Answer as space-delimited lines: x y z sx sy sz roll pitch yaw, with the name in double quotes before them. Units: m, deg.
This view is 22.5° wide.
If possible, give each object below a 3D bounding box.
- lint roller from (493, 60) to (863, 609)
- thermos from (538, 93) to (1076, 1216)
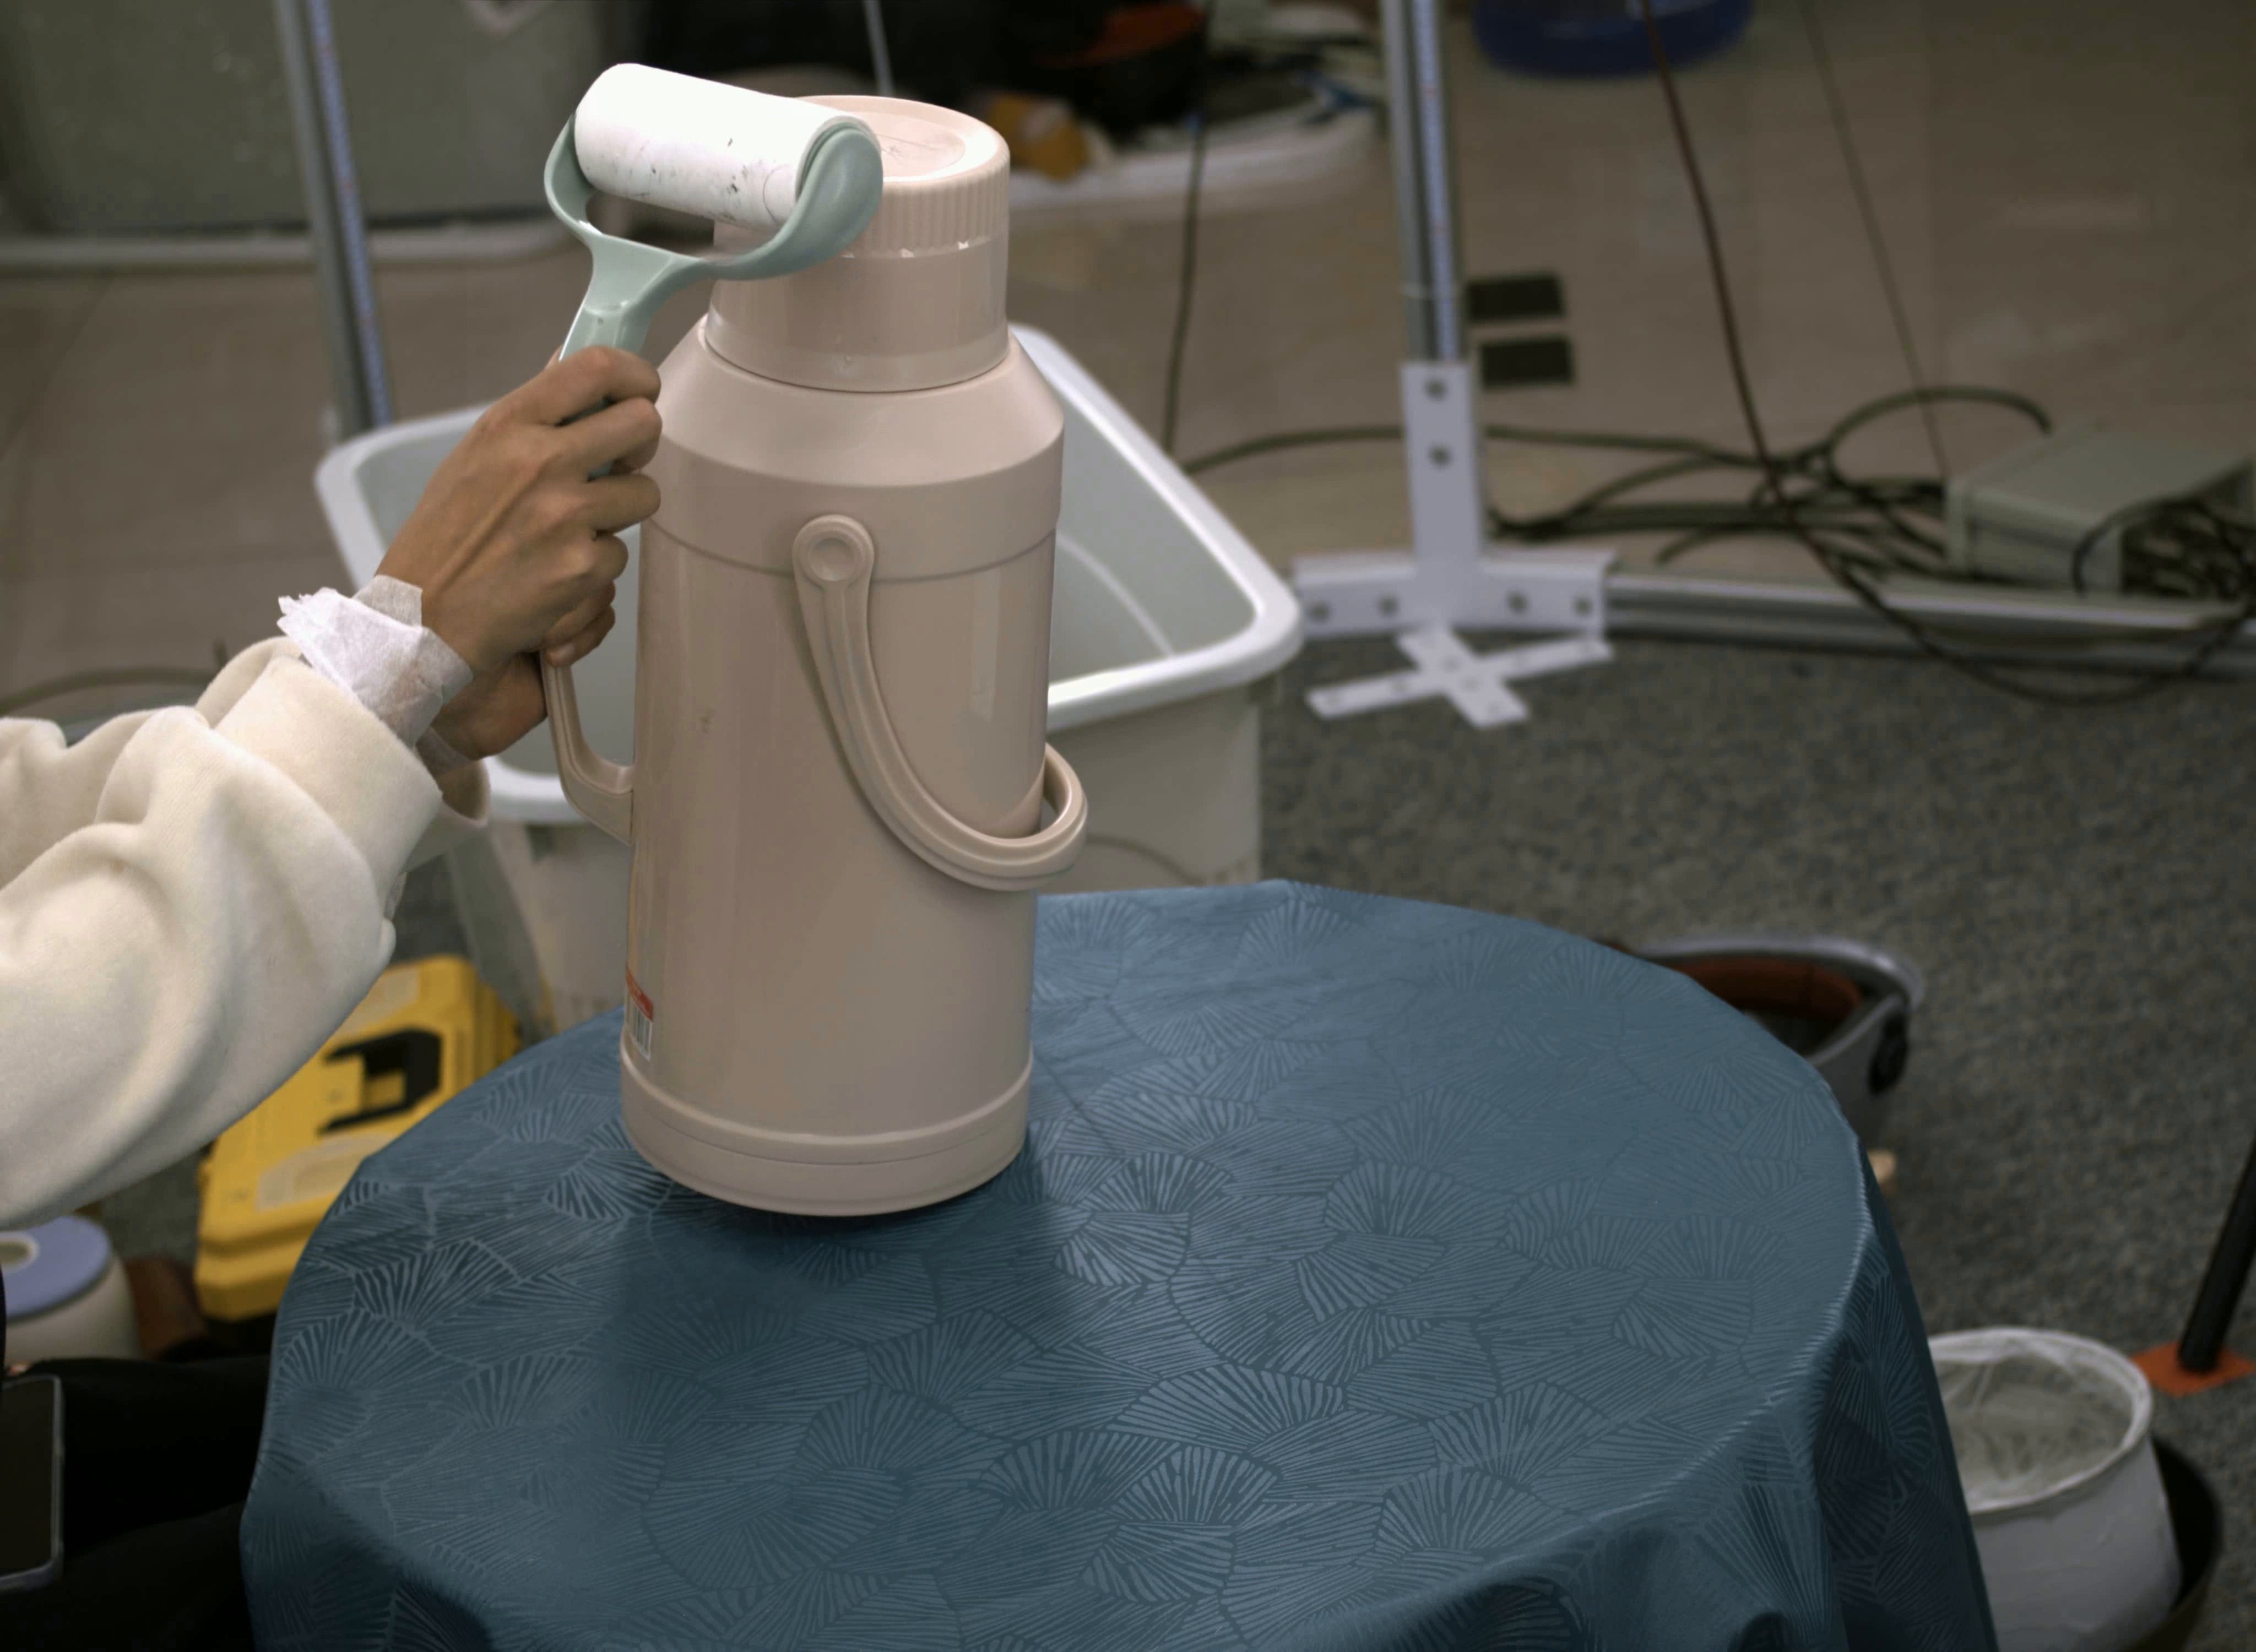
"lint roller" -0.178 -0.169 1.942 0.116 0.049 0.196 20 77 29
"thermos" -0.119 -0.066 2.113 0.206 0.413 0.172 3 27 0
